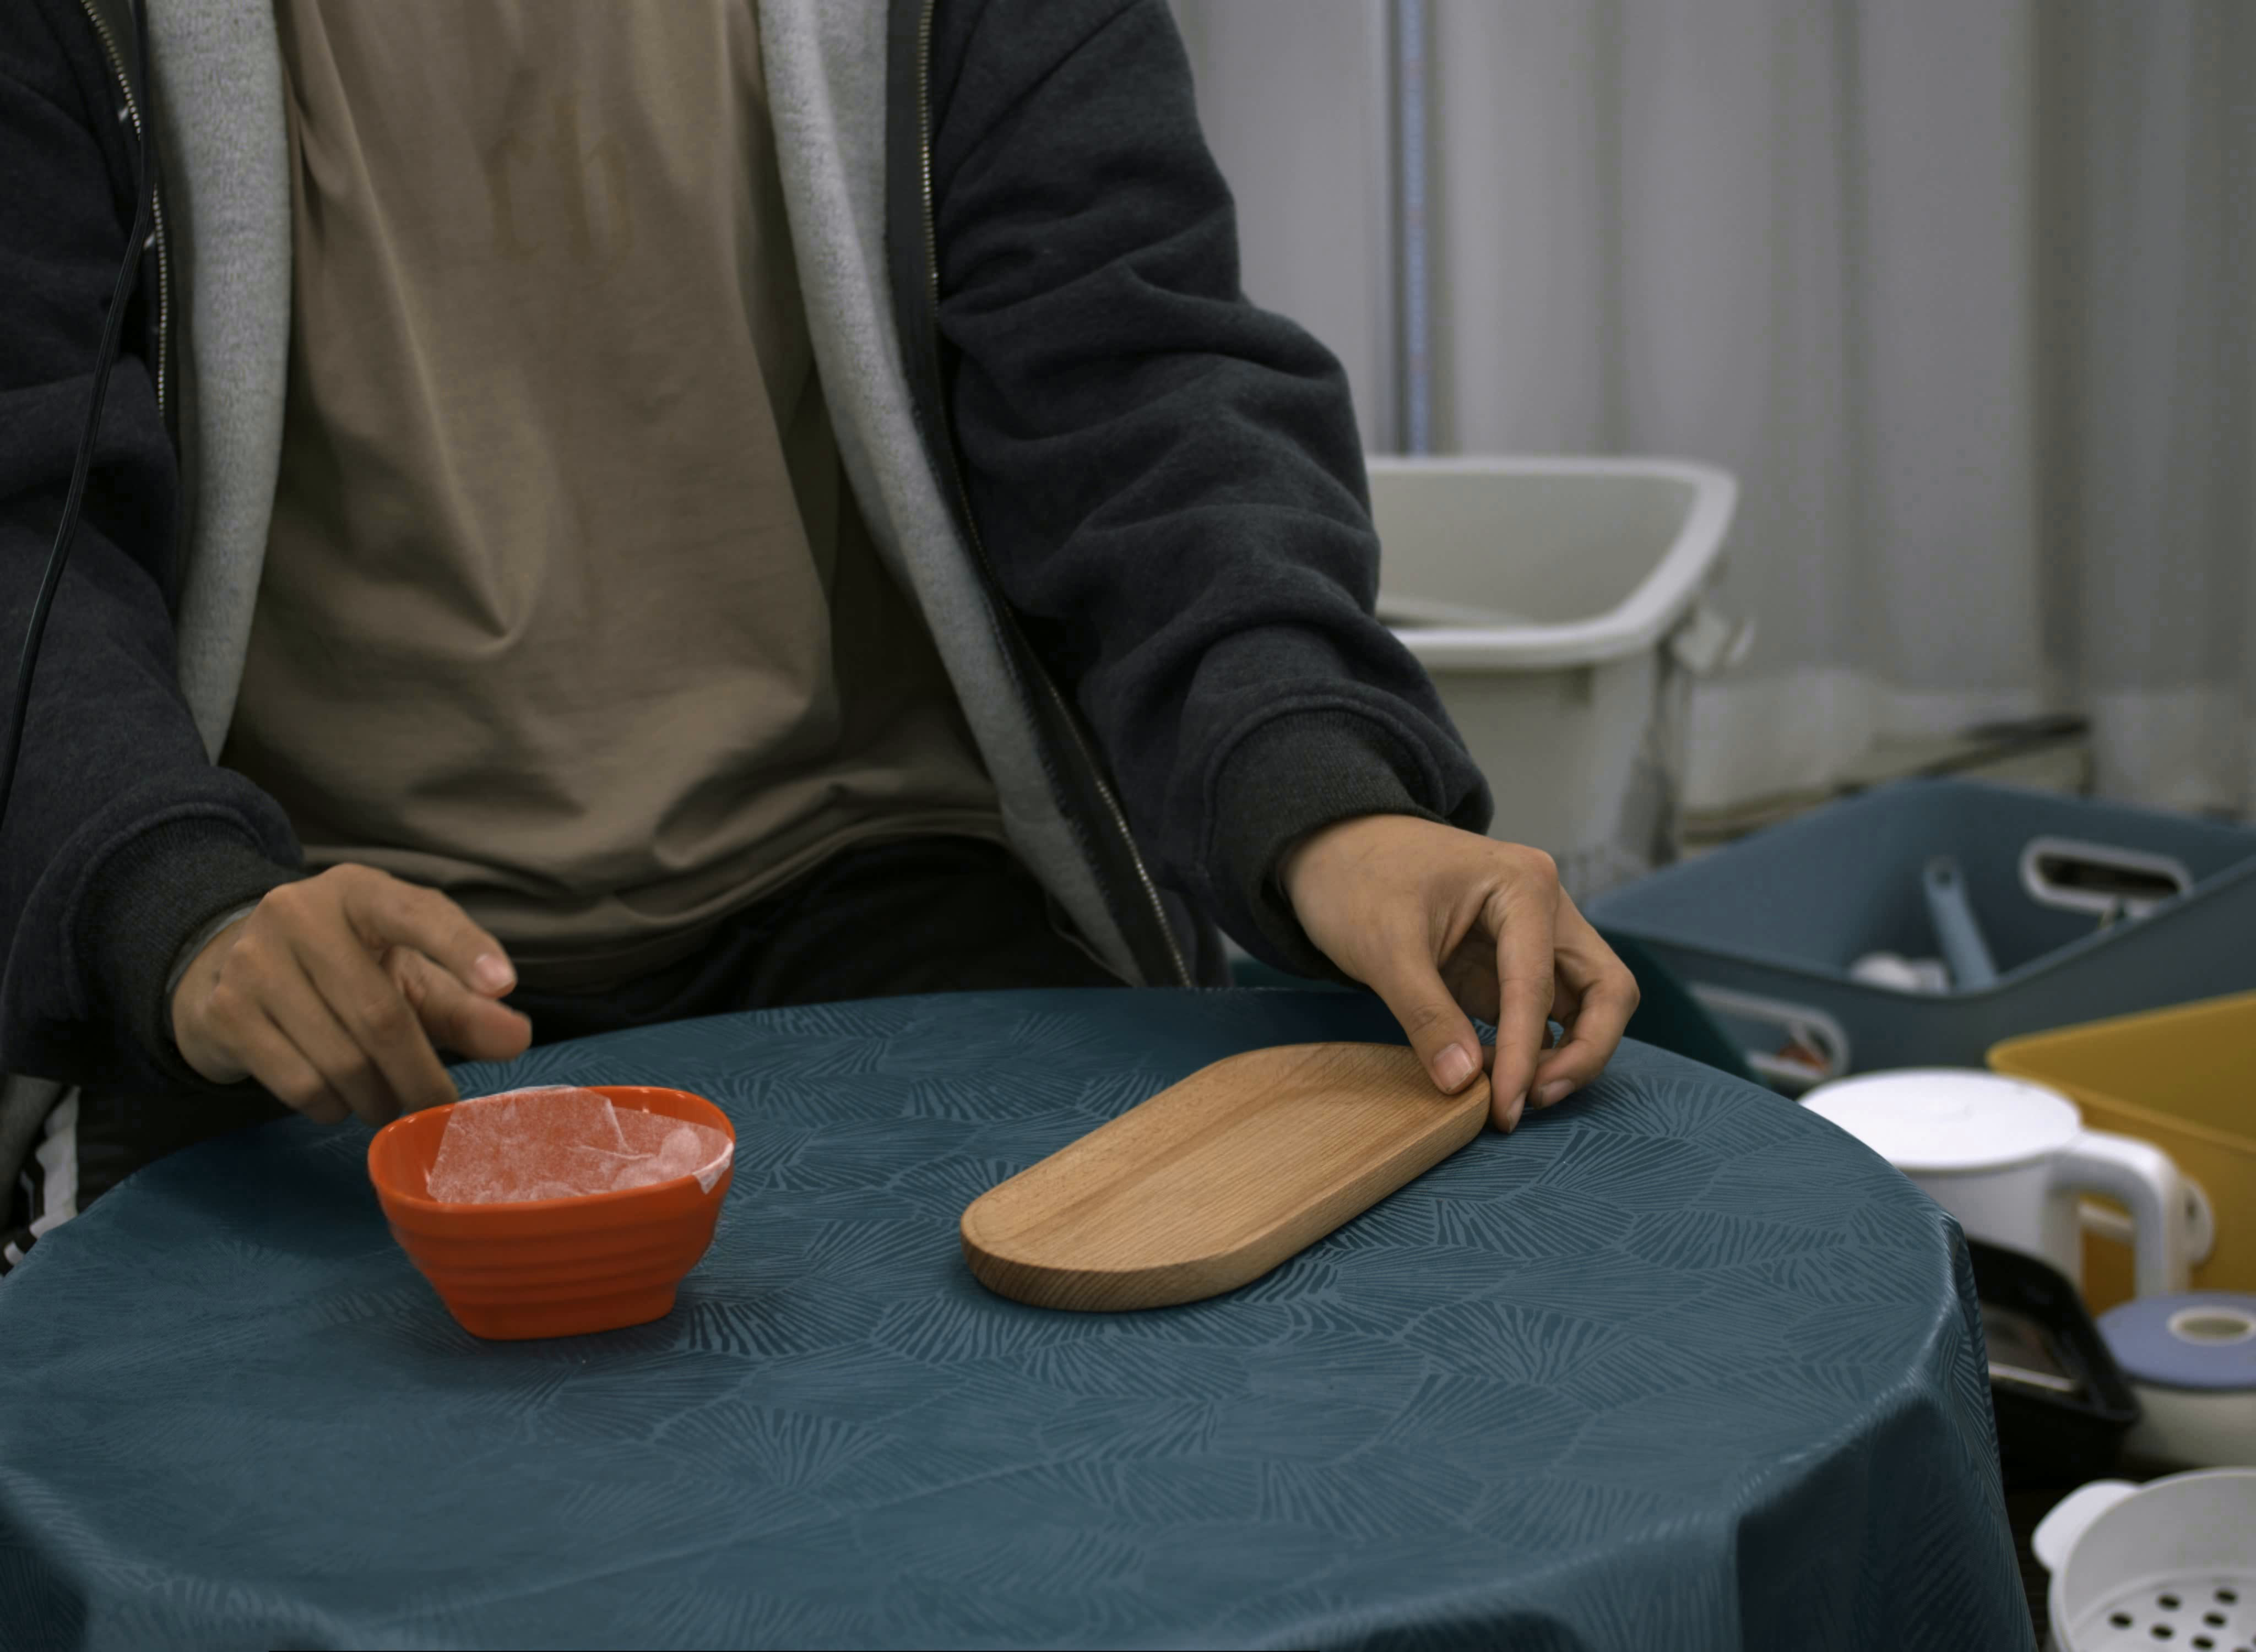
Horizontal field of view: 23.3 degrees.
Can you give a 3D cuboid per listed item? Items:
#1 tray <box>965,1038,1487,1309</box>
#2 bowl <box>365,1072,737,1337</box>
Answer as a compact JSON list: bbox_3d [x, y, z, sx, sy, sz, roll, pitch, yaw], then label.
[{"bbox_3d":[0.033,0.107,1.708,0.102,0.020,0.231,6,17,29],"label":"tray"},{"bbox_3d":[-0.171,0.116,1.638,0.118,0.051,0.120,-3,17,1],"label":"bowl"}]
